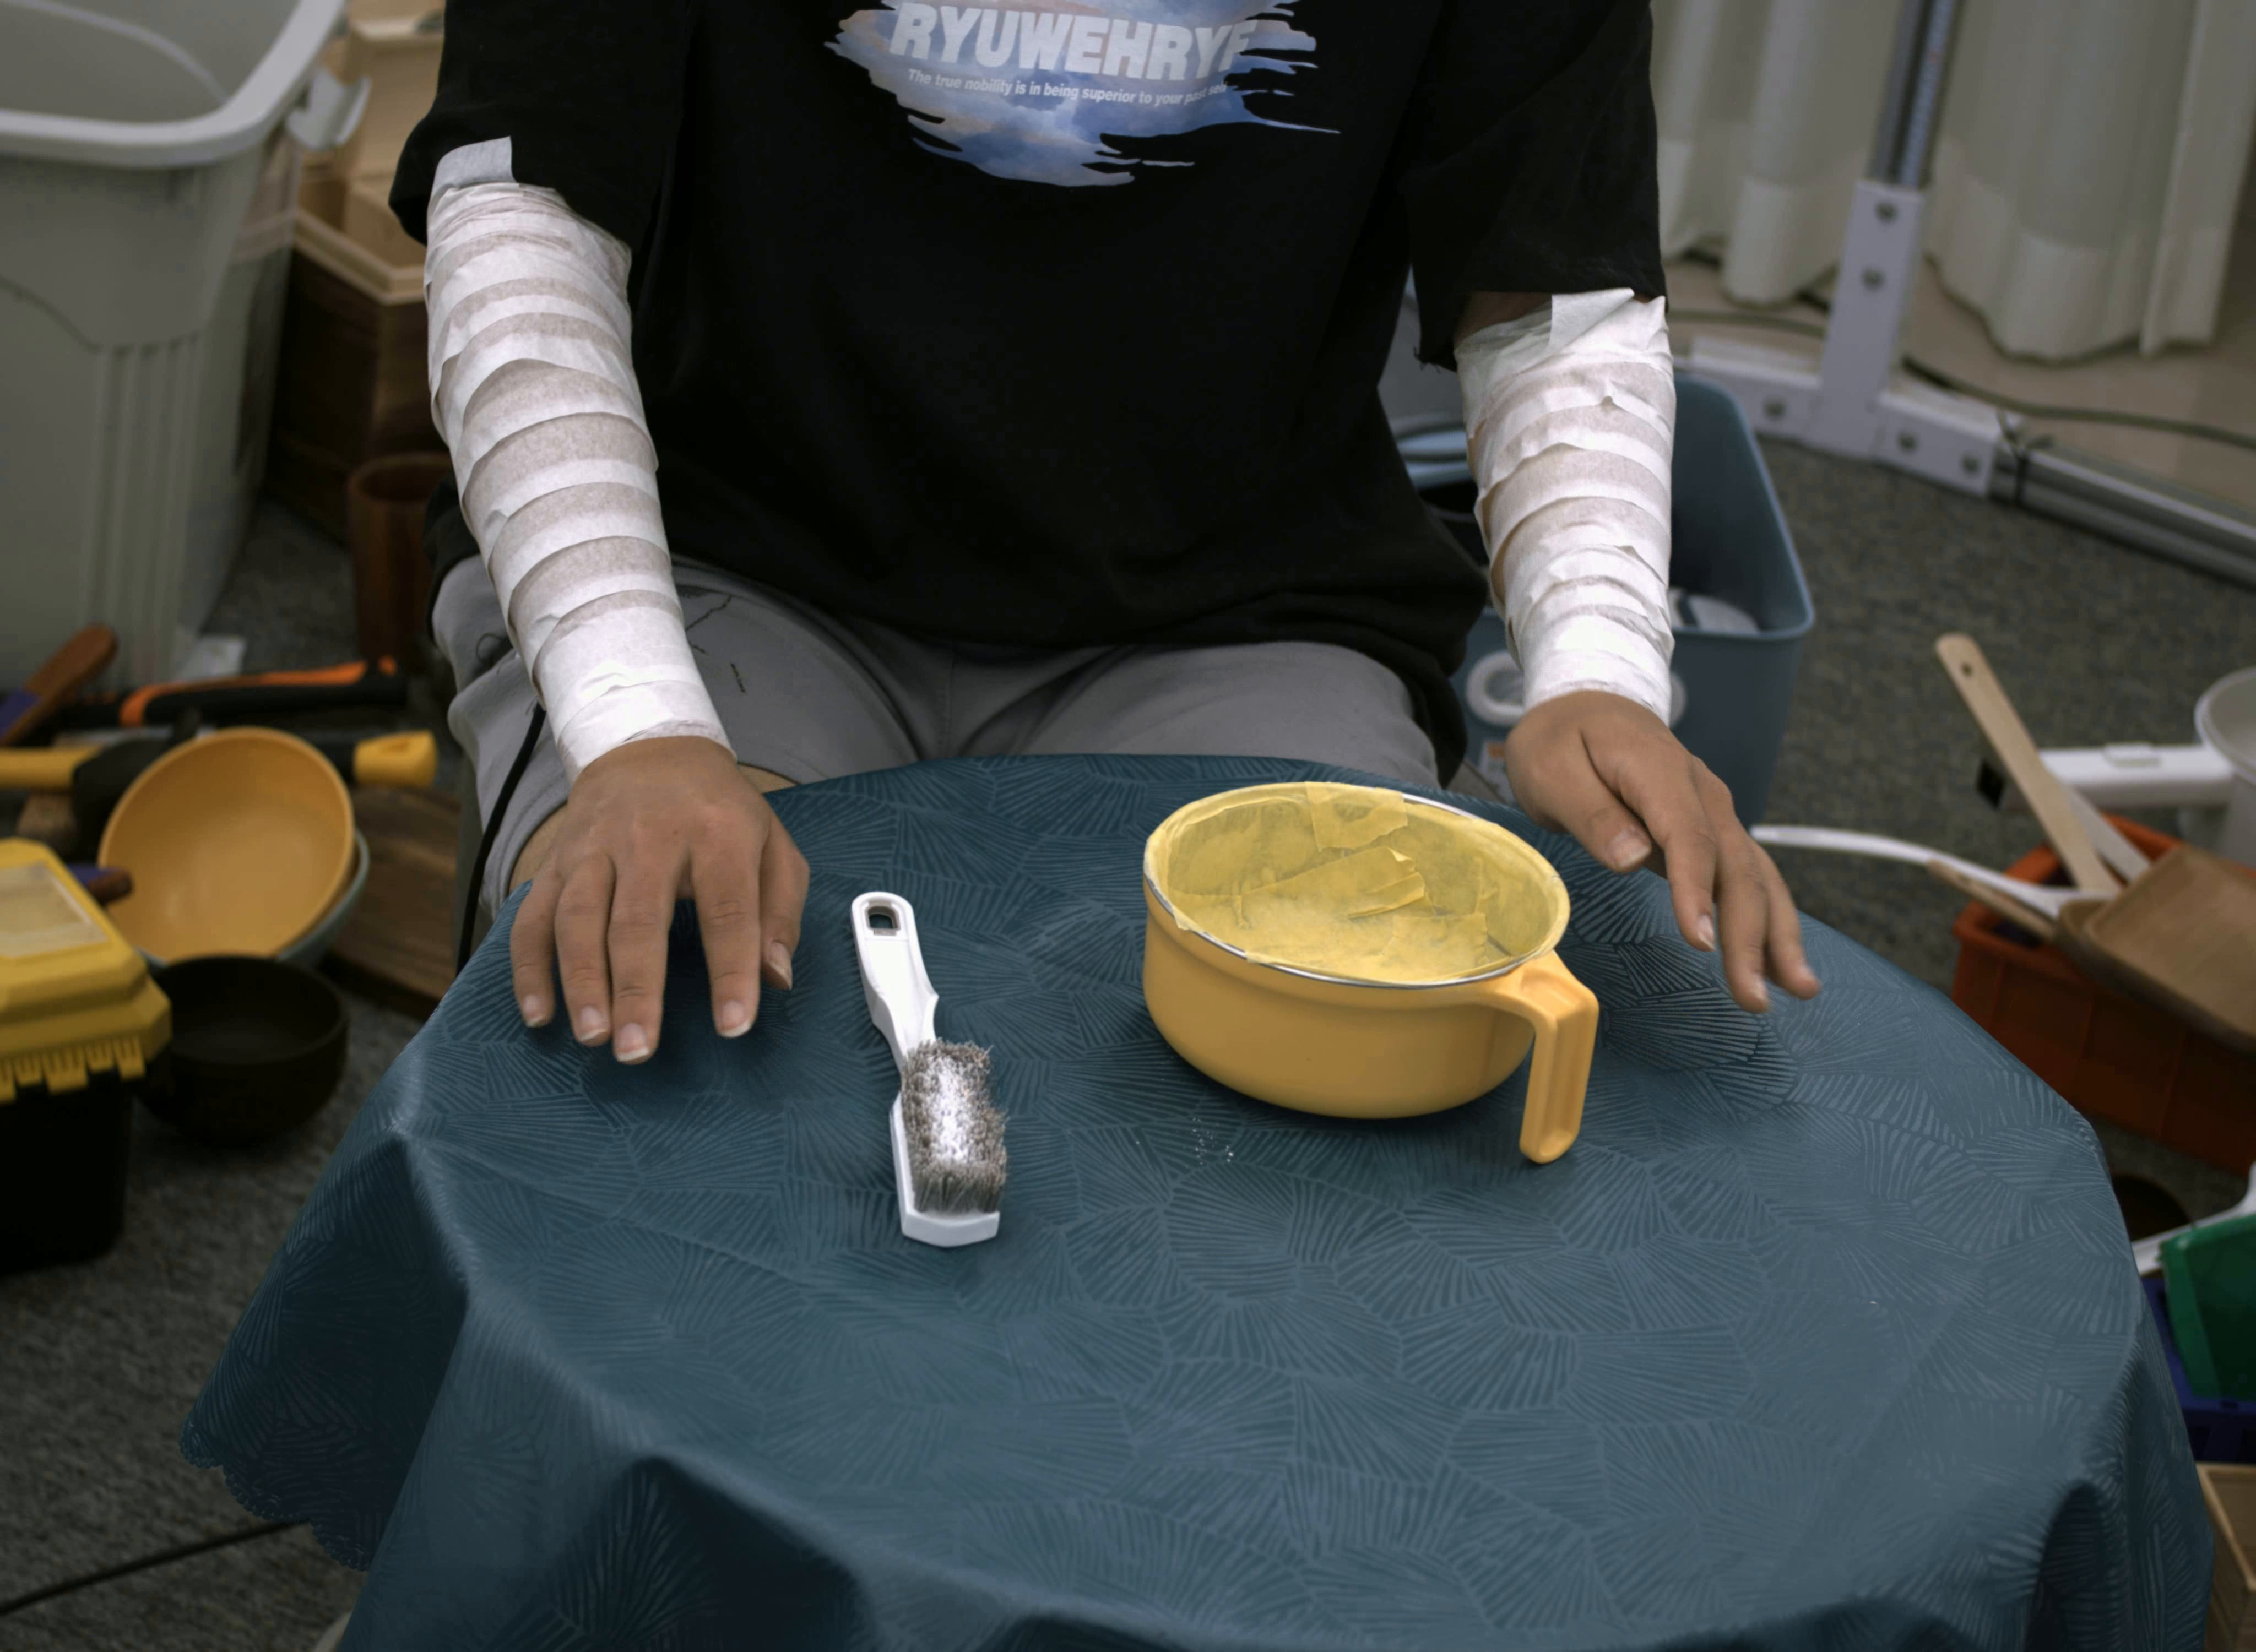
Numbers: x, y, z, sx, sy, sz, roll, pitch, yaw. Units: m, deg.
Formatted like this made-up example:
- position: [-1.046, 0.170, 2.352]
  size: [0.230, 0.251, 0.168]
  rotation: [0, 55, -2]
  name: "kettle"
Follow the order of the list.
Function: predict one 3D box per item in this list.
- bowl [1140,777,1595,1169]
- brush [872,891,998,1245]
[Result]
- position: [0.086, 0.052, 1.888]
  size: [0.180, 0.074, 0.152]
  rotation: [27, 28, 33]
  name: "bowl"
- position: [-0.070, 0.066, 1.847]
  size: [0.034, 0.050, 0.245]
  rotation: [2, 27, -7]
  name: "brush"
